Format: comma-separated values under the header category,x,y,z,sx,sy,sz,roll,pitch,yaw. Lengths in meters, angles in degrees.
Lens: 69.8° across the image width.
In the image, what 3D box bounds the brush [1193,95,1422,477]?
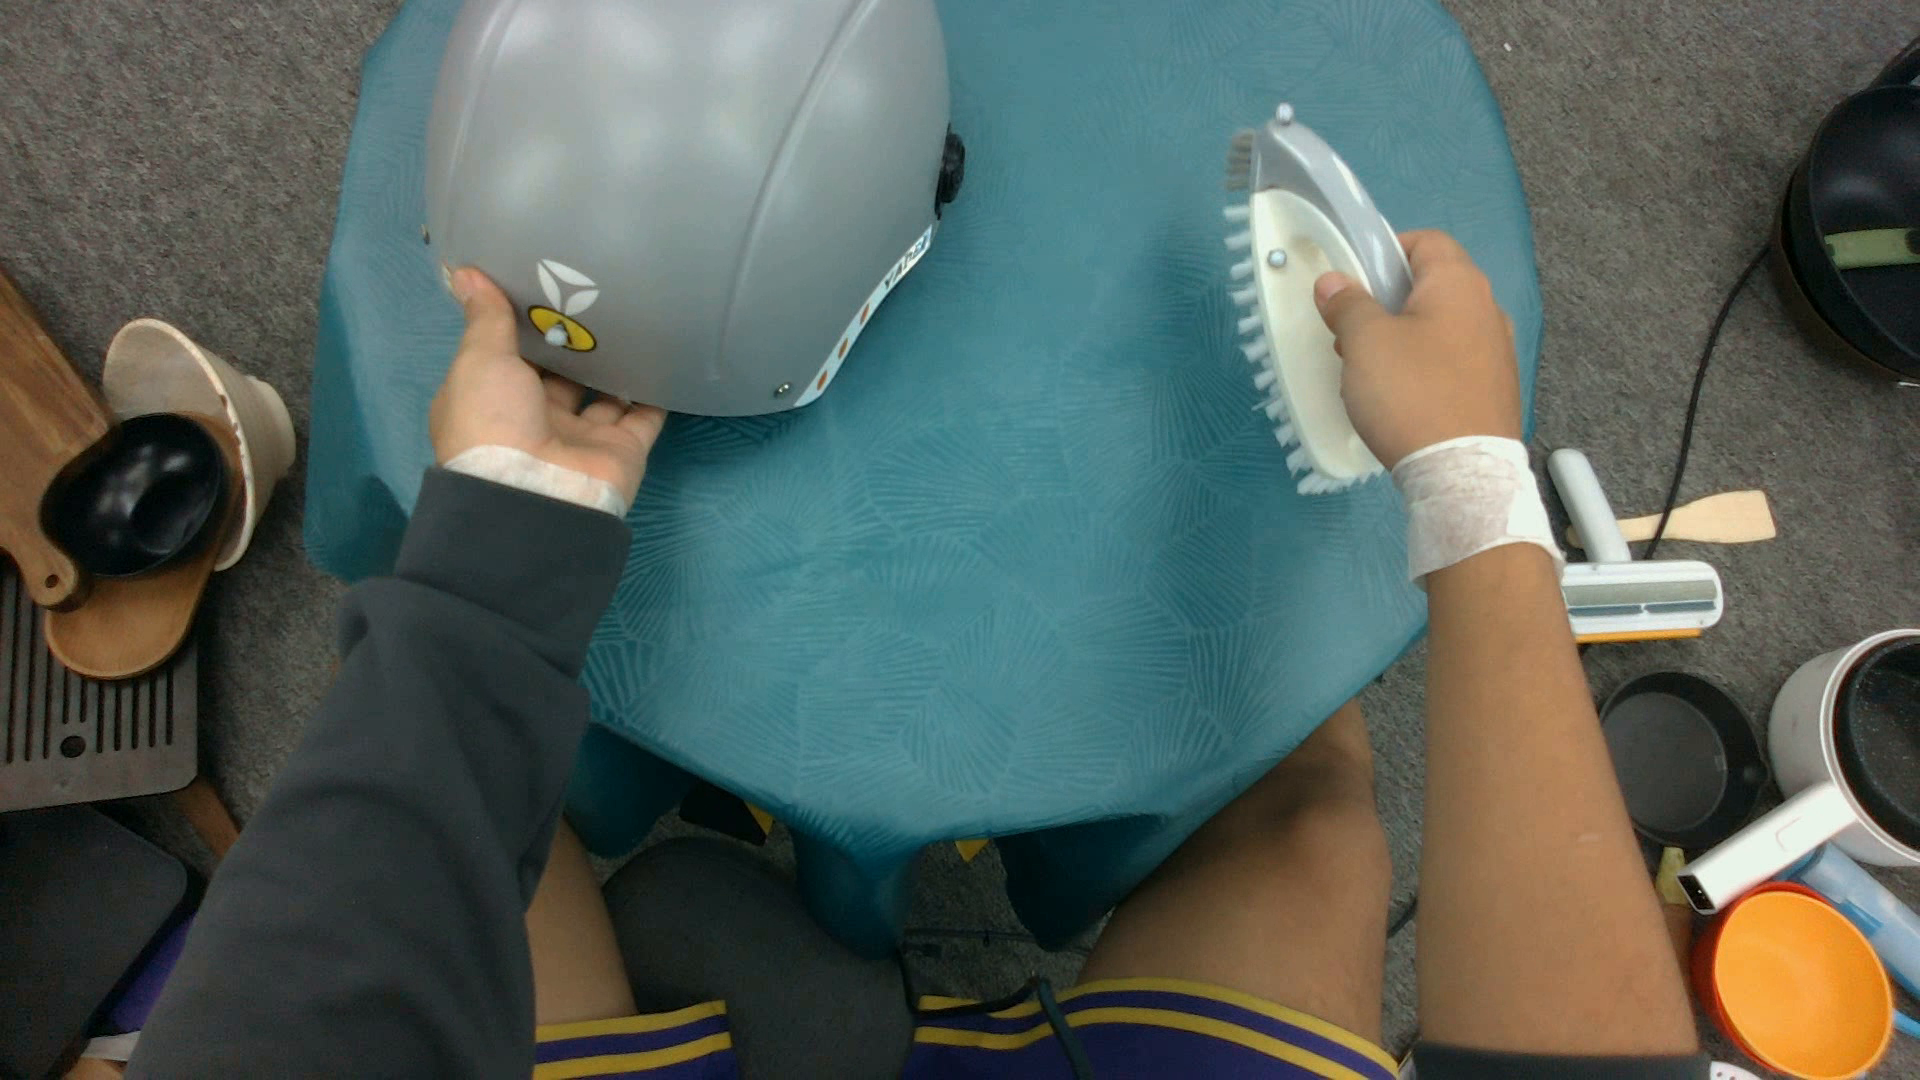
category,x,y,z,sx,sy,sz,roll,pitch,yaw
brush,0.152,-0.121,0.605,0.061,0.094,0.175,-17,86,-17

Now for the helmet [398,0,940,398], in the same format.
category,x,y,z,sx,sy,sz,roll,pitch,yaw
helmet,-0.120,-0.207,0.594,0.232,0.168,0.277,23,68,-4
